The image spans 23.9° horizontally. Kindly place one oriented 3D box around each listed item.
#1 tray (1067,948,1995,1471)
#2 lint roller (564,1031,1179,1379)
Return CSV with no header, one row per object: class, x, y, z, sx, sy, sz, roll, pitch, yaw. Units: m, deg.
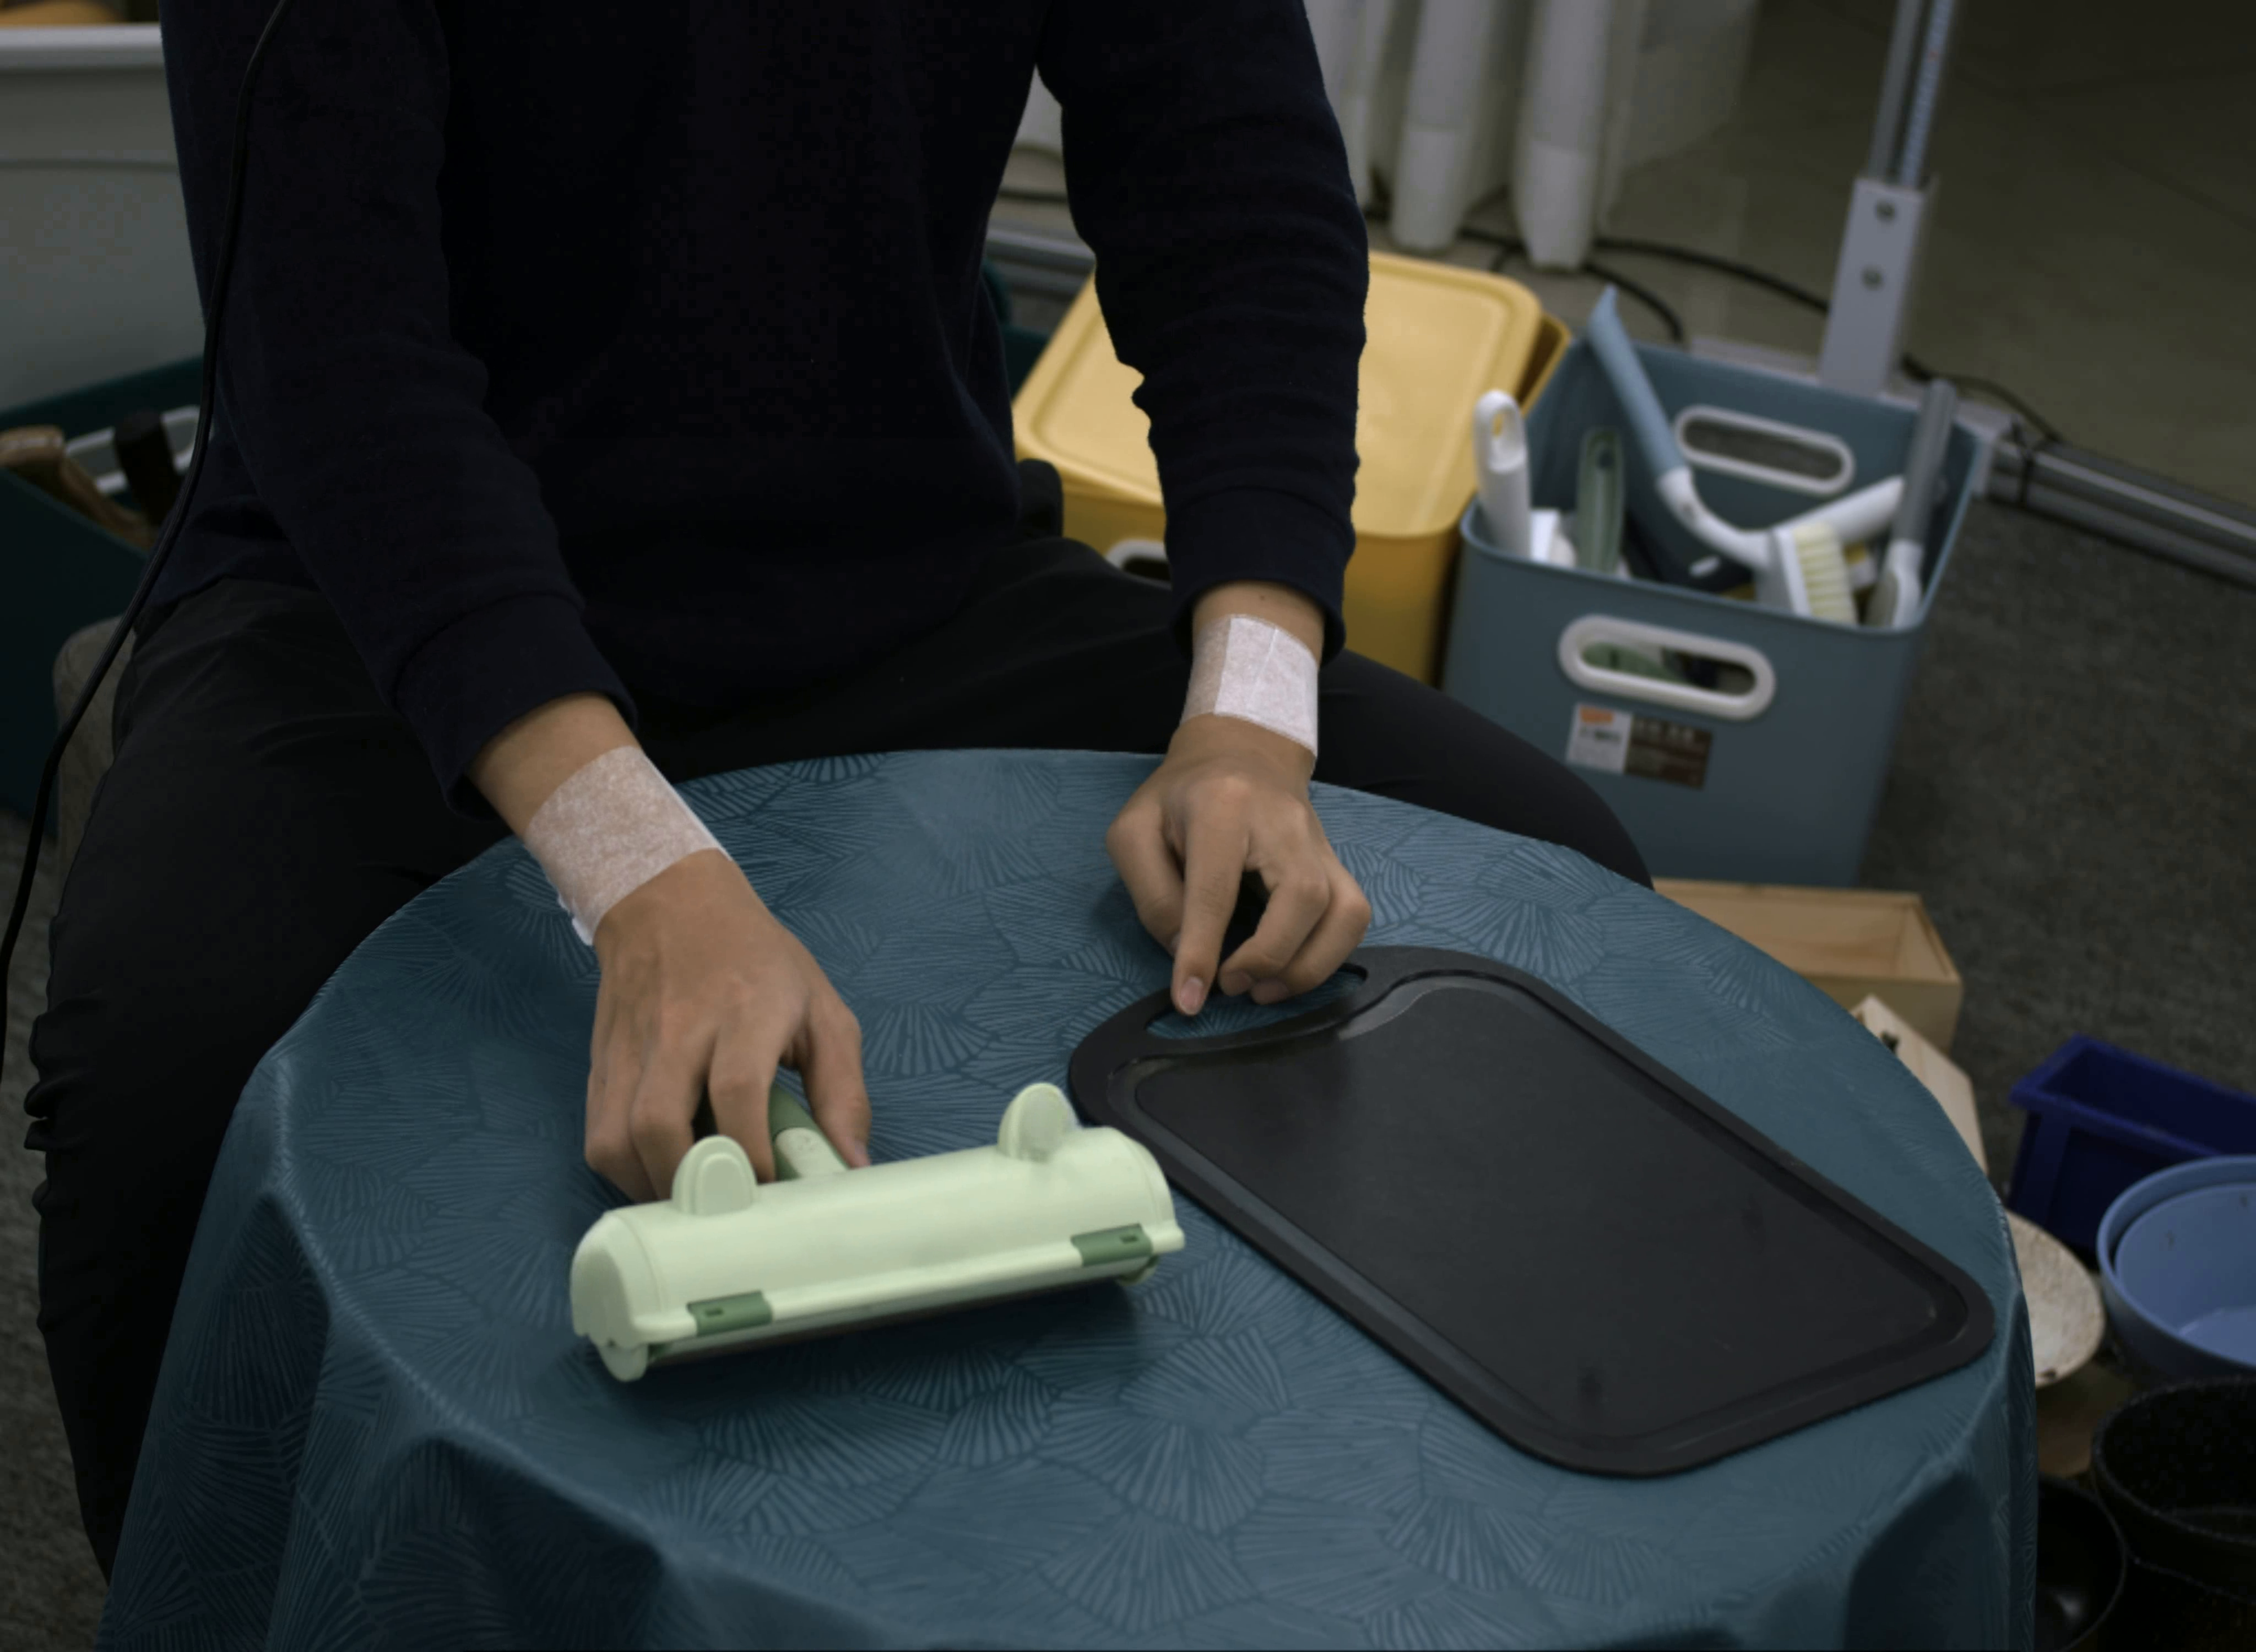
tray,0.129,0.121,1.829,0.210,0.010,0.328,-14,34,-35
lint roller,-0.106,0.099,1.733,0.197,0.082,0.185,-8,37,-28
